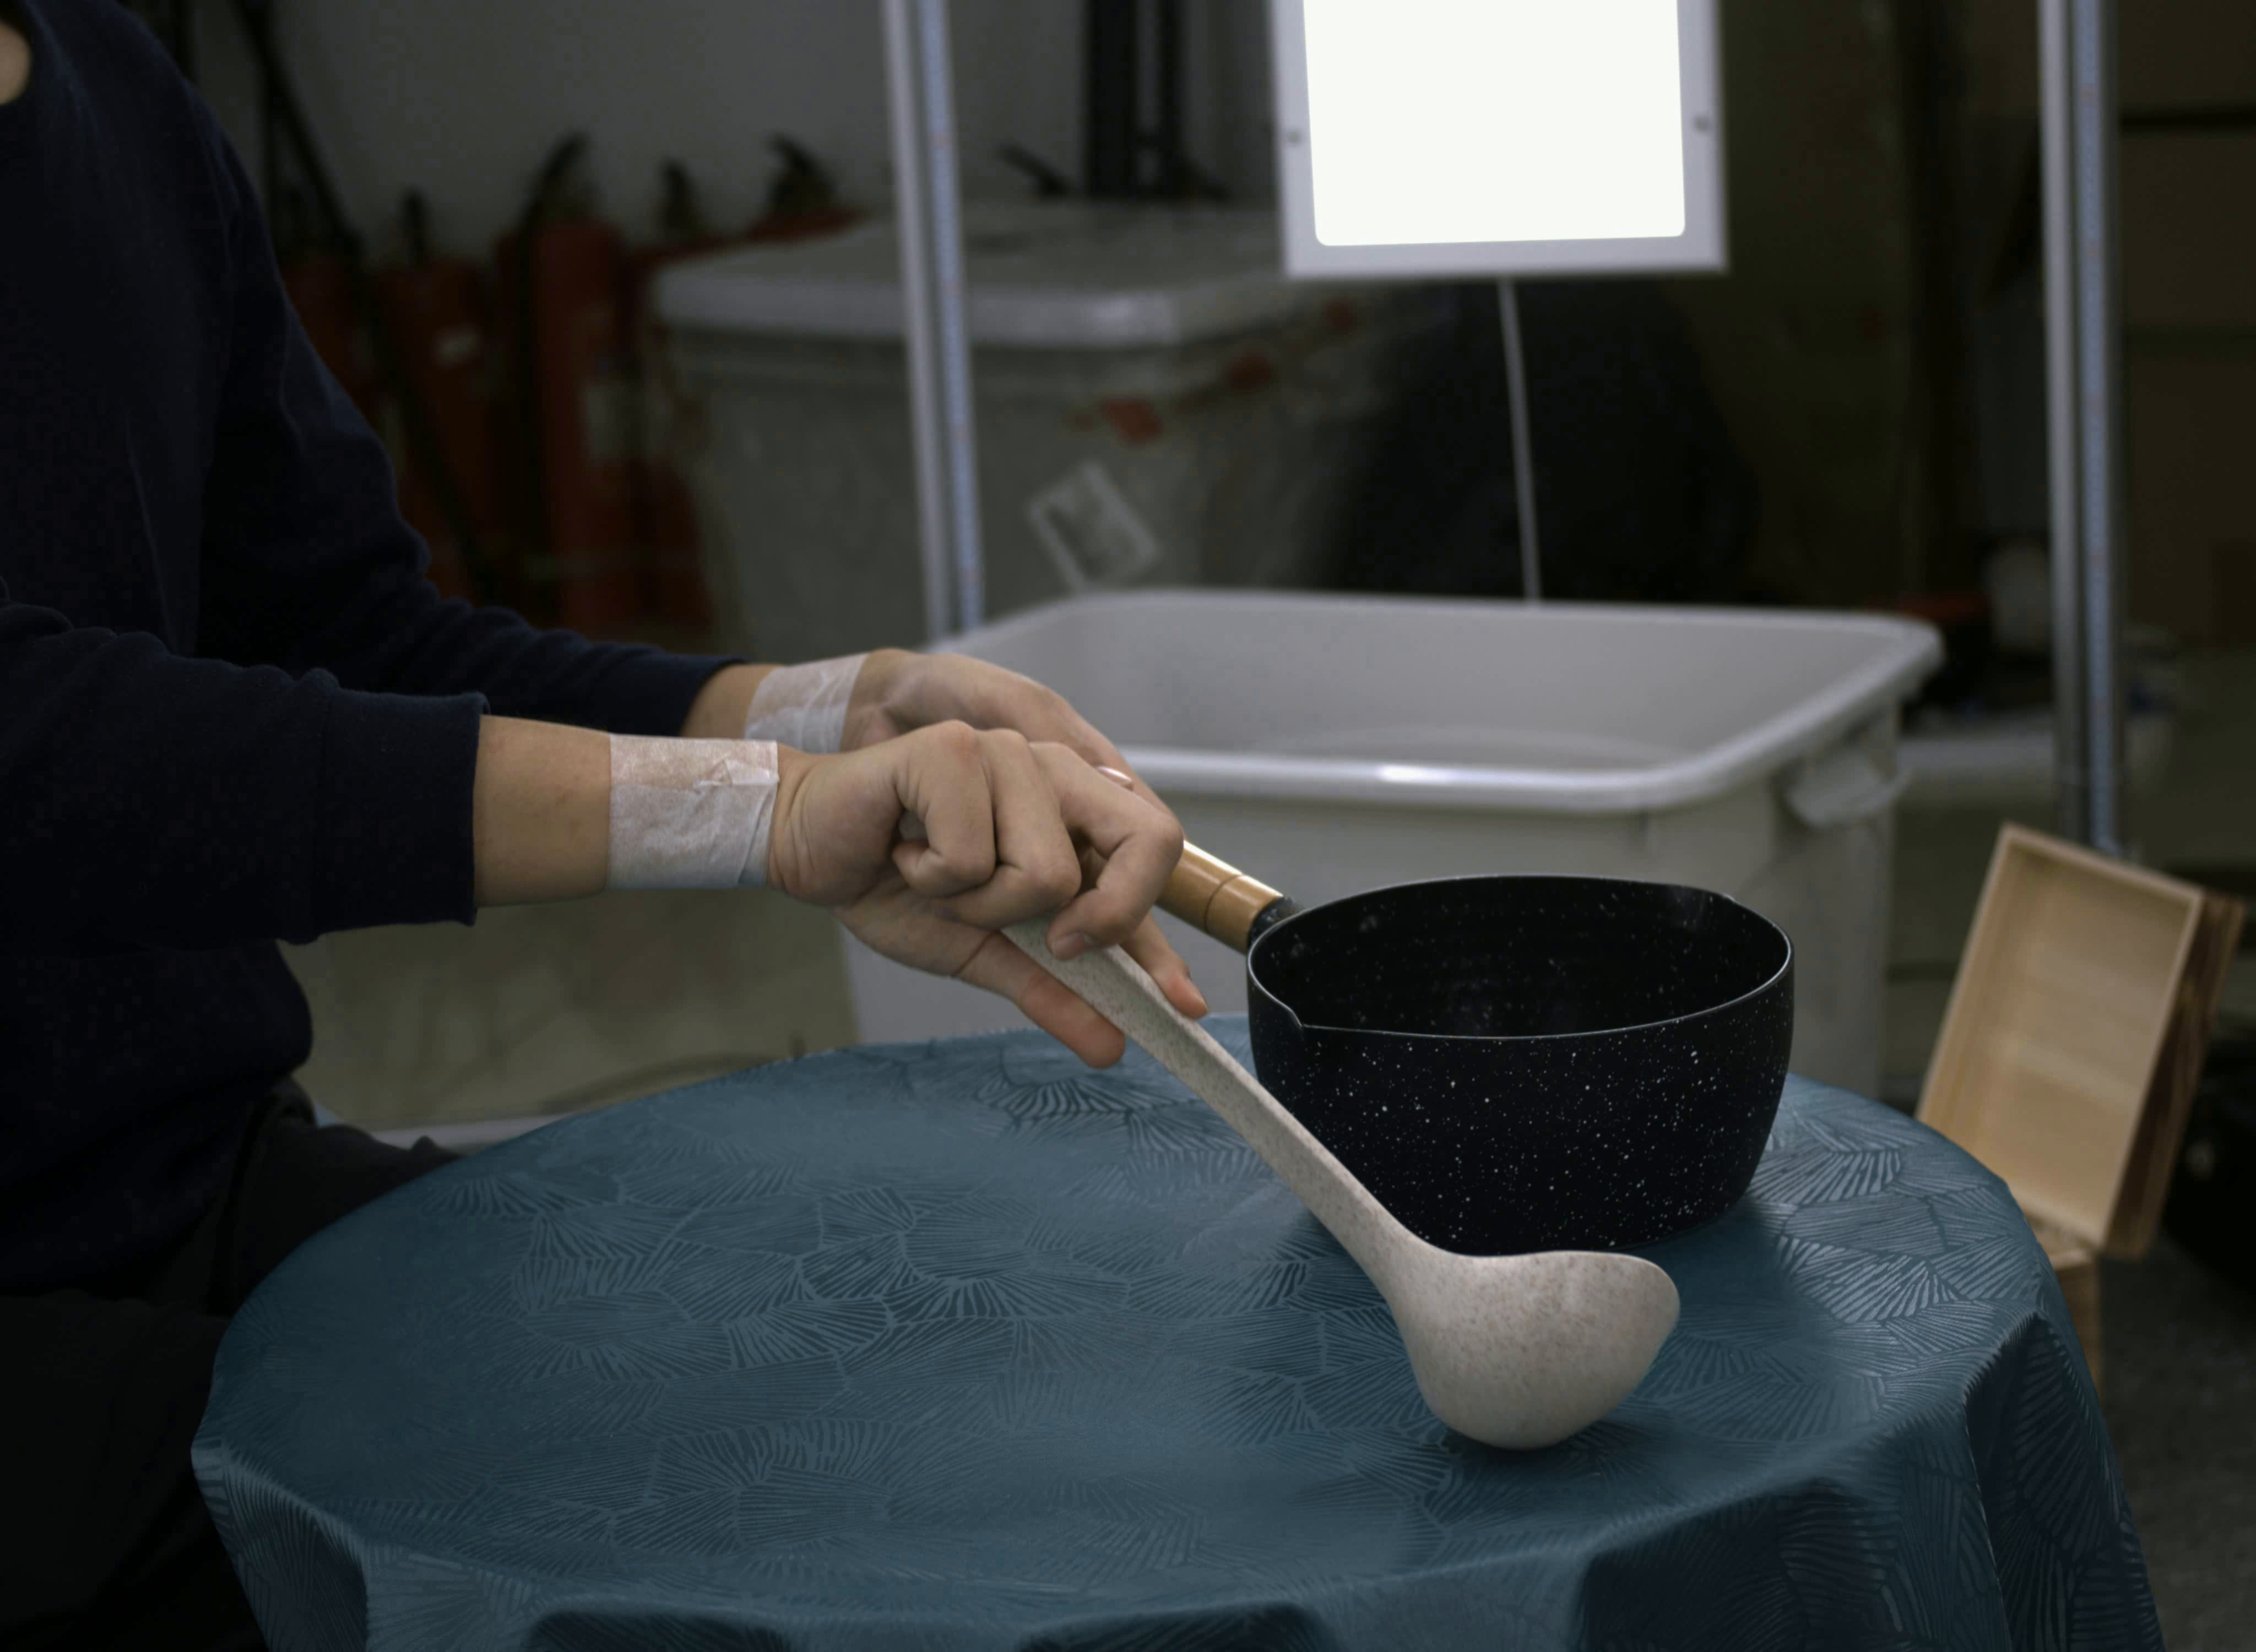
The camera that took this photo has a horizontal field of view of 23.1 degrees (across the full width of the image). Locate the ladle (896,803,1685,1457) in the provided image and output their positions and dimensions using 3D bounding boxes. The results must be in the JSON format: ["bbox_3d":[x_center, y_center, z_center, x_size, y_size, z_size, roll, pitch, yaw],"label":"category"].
[{"bbox_3d":[0.047,0.077,1.628,0.276,0.091,0.068,45,50,12],"label":"ladle"}]

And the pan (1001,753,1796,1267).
[{"bbox_3d":[0.077,0.057,1.898,0.202,0.109,0.350,-18,23,-40],"label":"pan"}]
